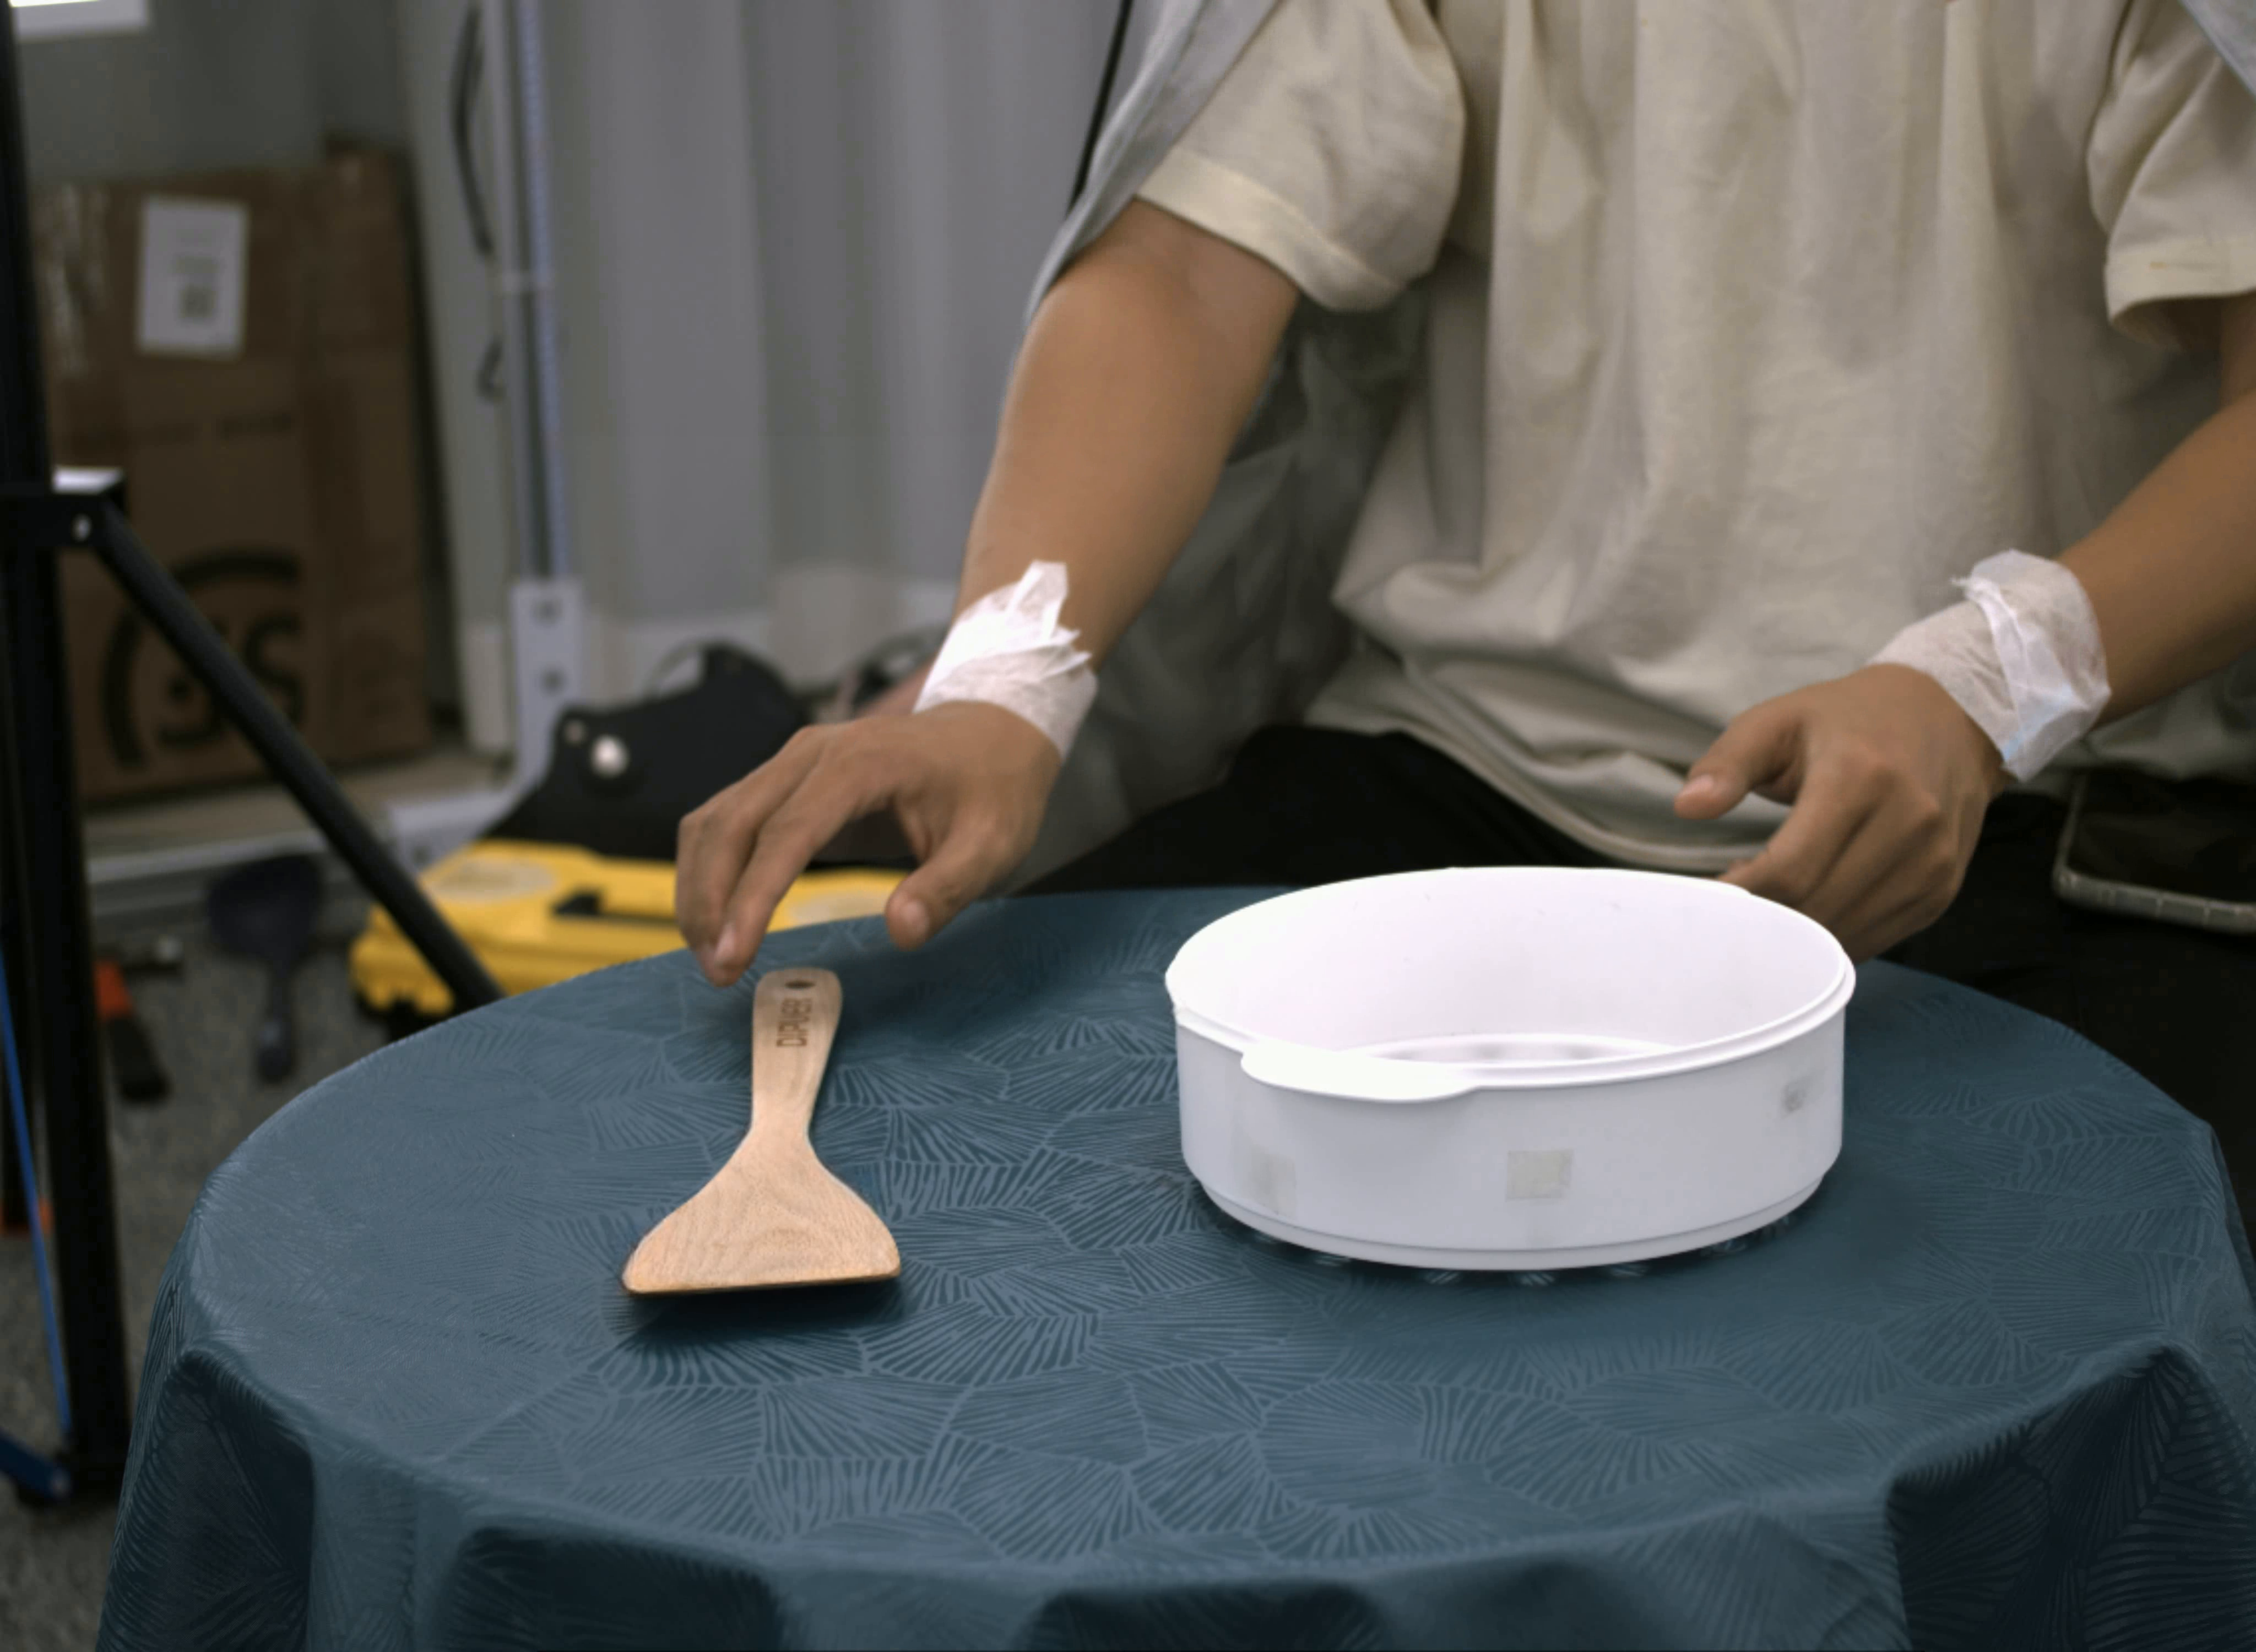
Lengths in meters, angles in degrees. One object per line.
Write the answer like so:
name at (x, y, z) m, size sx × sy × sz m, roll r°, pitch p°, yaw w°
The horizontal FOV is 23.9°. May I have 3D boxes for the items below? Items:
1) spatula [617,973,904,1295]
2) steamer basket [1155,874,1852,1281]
spatula at (-0.106, 0.090, 1.606) m, size 0.079 × 0.016 × 0.329 m, roll -2°, pitch 15°, yaw -1°
steamer basket at (0.108, 0.073, 1.542) m, size 0.205 × 0.069 × 0.226 m, roll 8°, pitch 18°, yaw 30°
